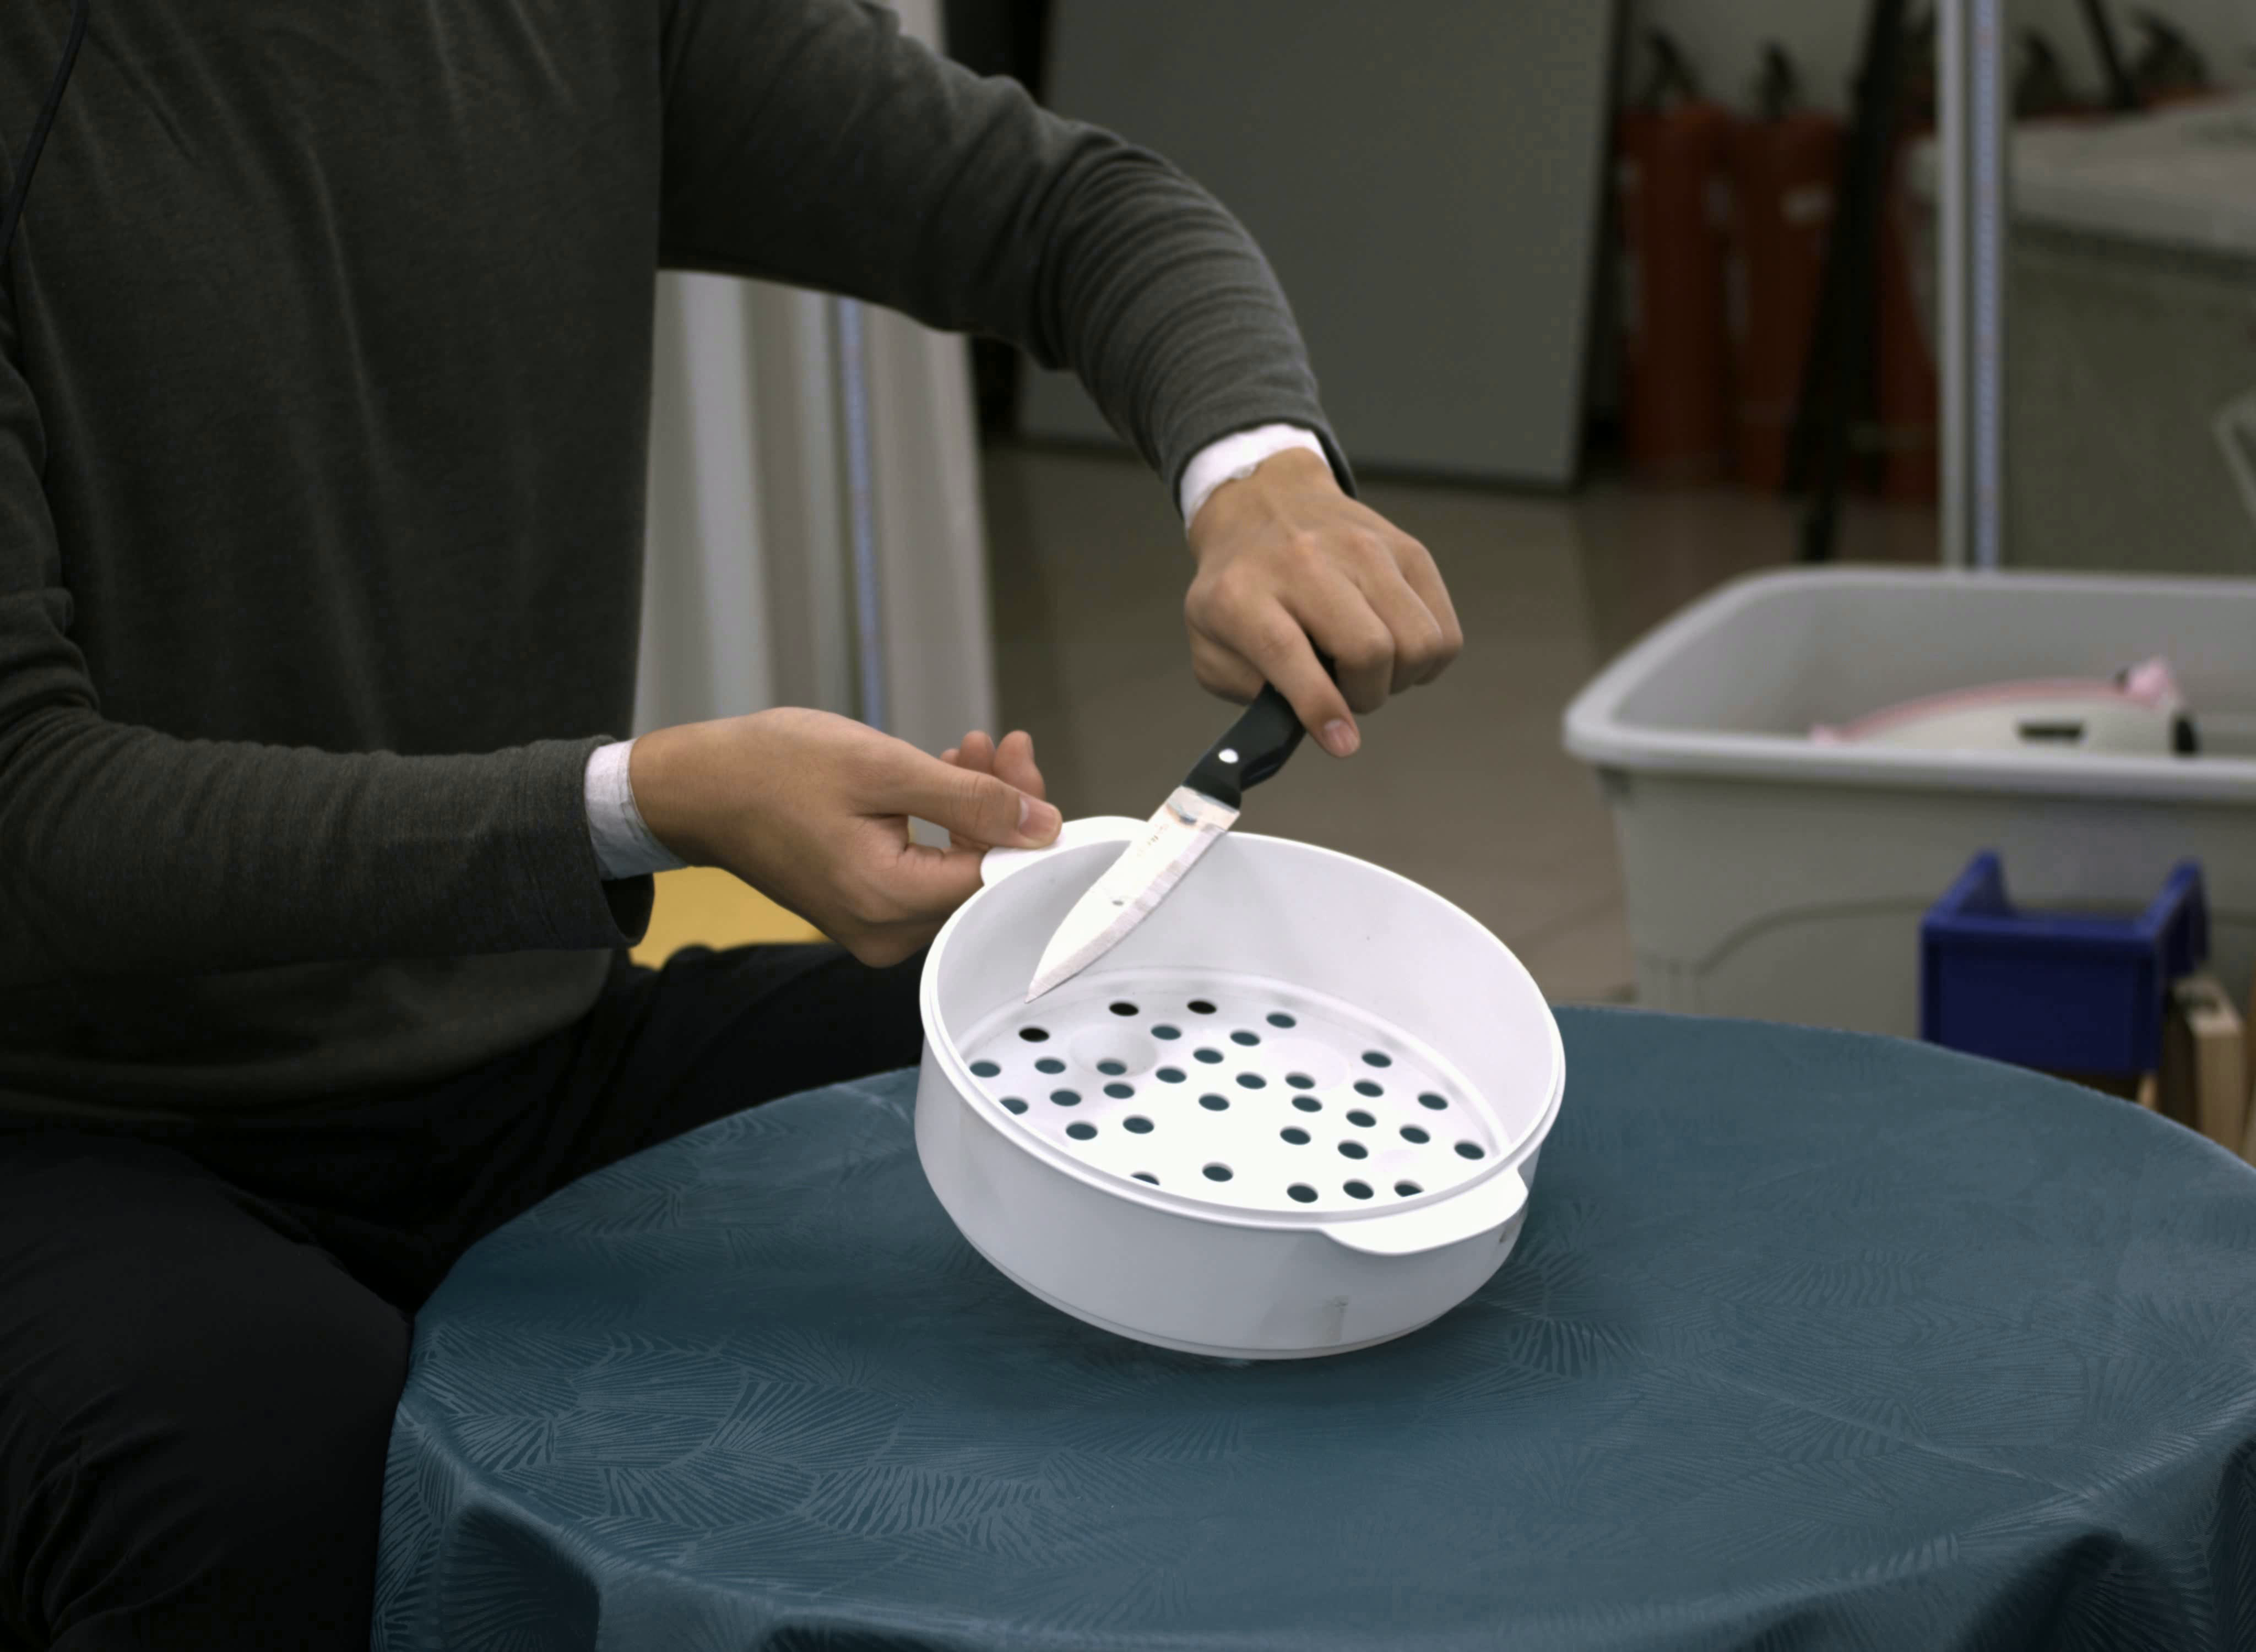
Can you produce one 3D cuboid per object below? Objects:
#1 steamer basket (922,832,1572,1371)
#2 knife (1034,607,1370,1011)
[{"bbox_3d":[0.034,0.086,1.656,0.197,0.070,0.233,-14,38,-30],"label":"steamer basket"},{"bbox_3d":[0.022,-0.008,1.726,0.024,0.016,0.236,23,41,15],"label":"knife"}]
